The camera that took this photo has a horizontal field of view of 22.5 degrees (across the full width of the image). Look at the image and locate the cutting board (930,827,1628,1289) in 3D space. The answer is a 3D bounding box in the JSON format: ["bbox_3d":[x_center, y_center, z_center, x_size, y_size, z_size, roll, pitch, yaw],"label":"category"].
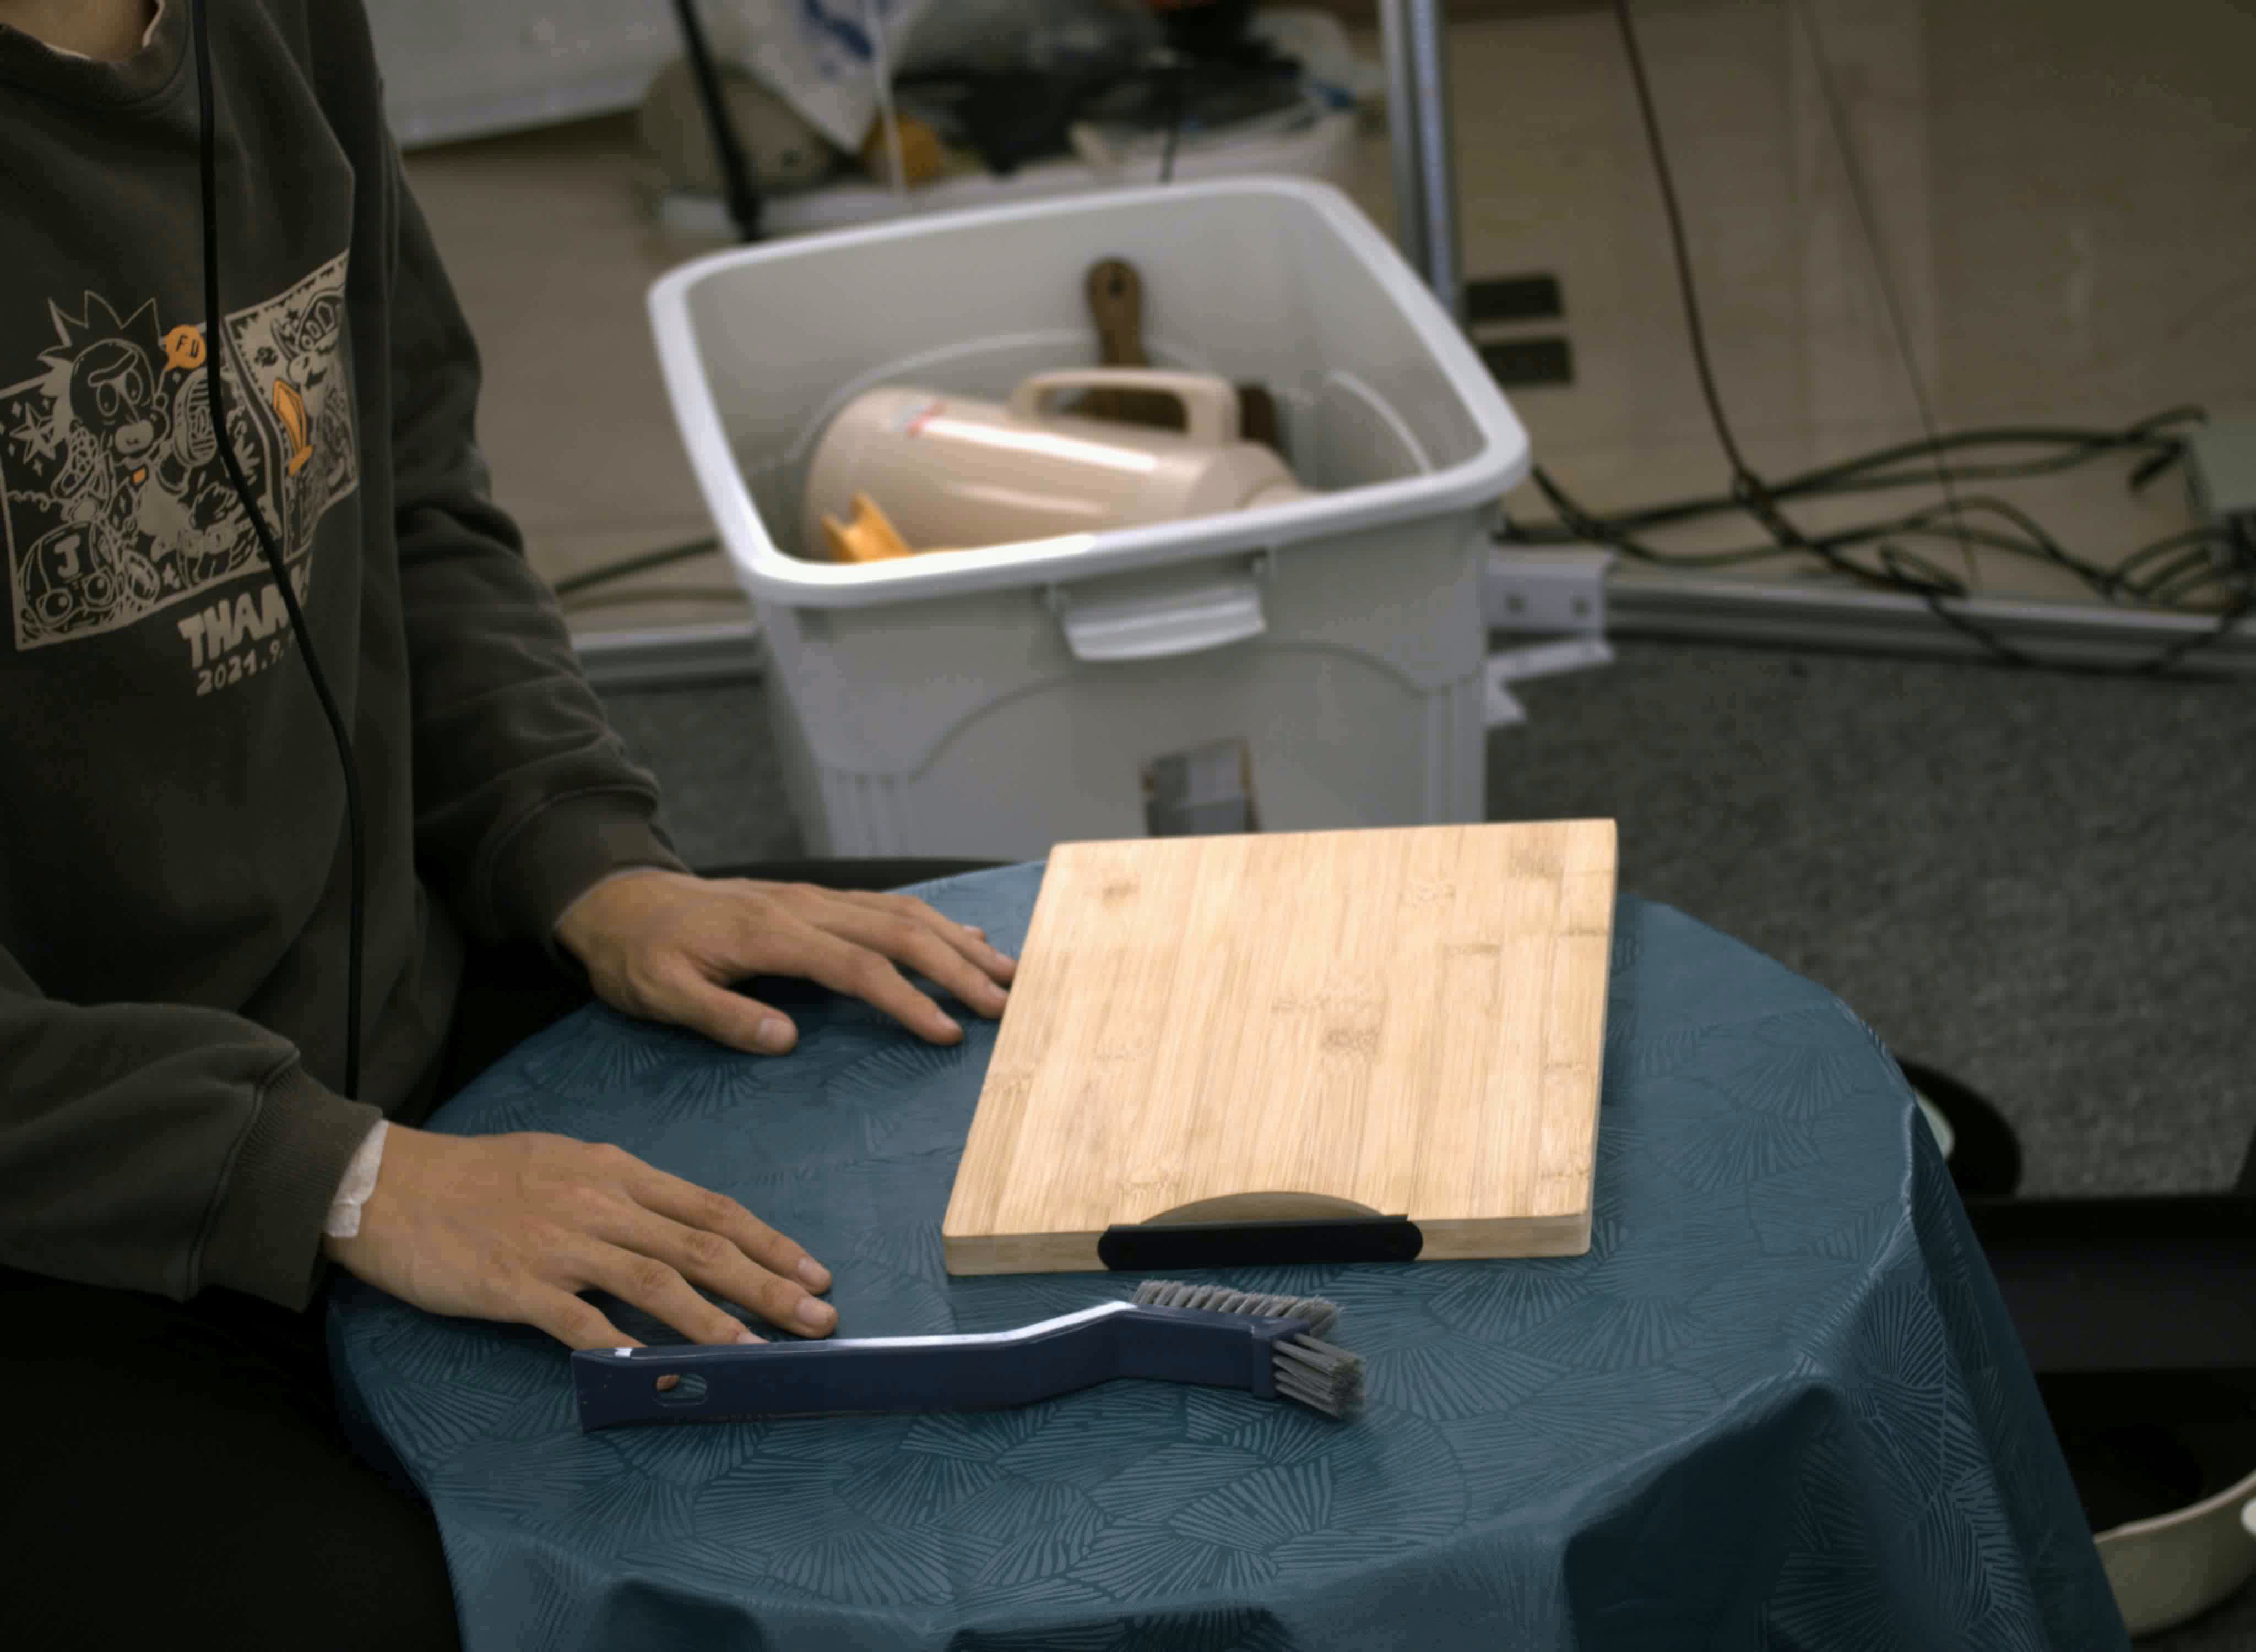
[{"bbox_3d":[0.067,0.086,2.226,0.250,0.024,0.343,-4,25,8],"label":"cutting board"}]

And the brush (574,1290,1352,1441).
[{"bbox_3d":[-0.060,0.194,2.006,0.273,0.034,0.094,-6,25,0],"label":"brush"}]
